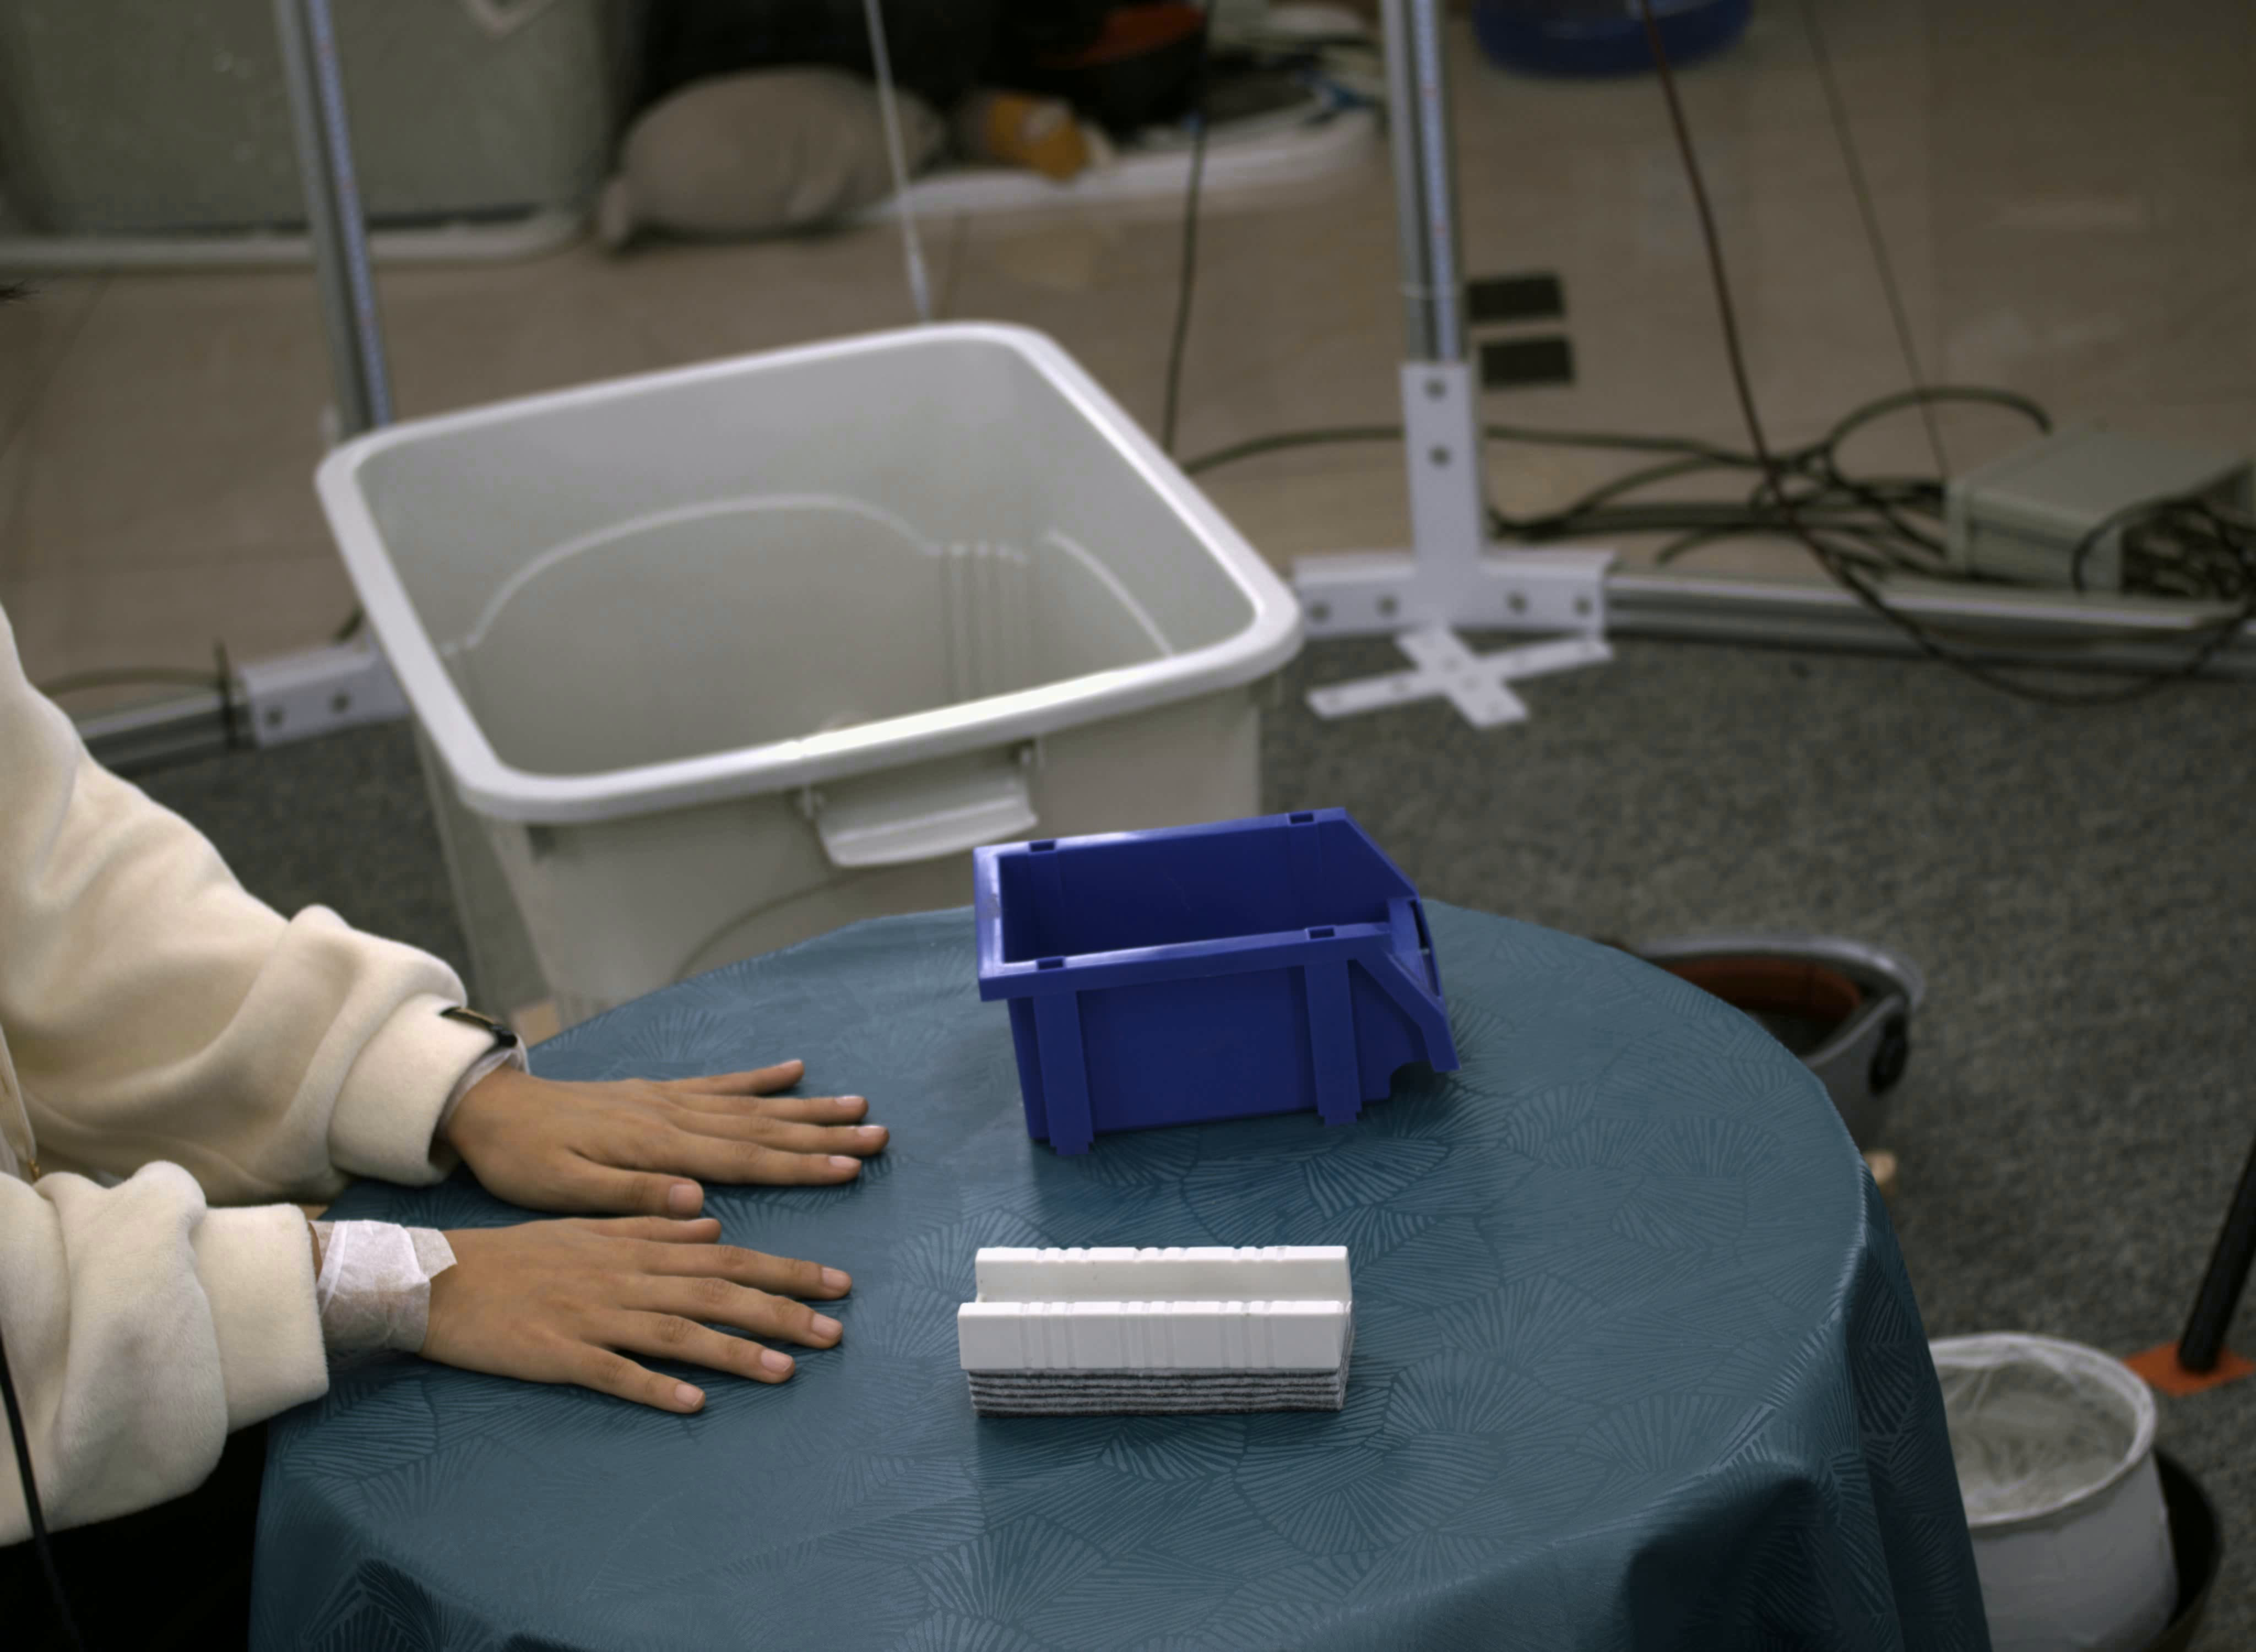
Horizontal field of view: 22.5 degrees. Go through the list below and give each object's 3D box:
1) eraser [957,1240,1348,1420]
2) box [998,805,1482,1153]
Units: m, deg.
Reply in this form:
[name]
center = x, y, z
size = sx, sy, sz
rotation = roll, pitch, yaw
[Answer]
[eraser]
center = 0.010, 0.178, 2.004
size = 0.134, 0.047, 0.049
rotation = -2, 28, 7
[box]
center = 0.044, 0.057, 2.215
size = 0.179, 0.083, 0.122
rotation = -7, 25, 3
